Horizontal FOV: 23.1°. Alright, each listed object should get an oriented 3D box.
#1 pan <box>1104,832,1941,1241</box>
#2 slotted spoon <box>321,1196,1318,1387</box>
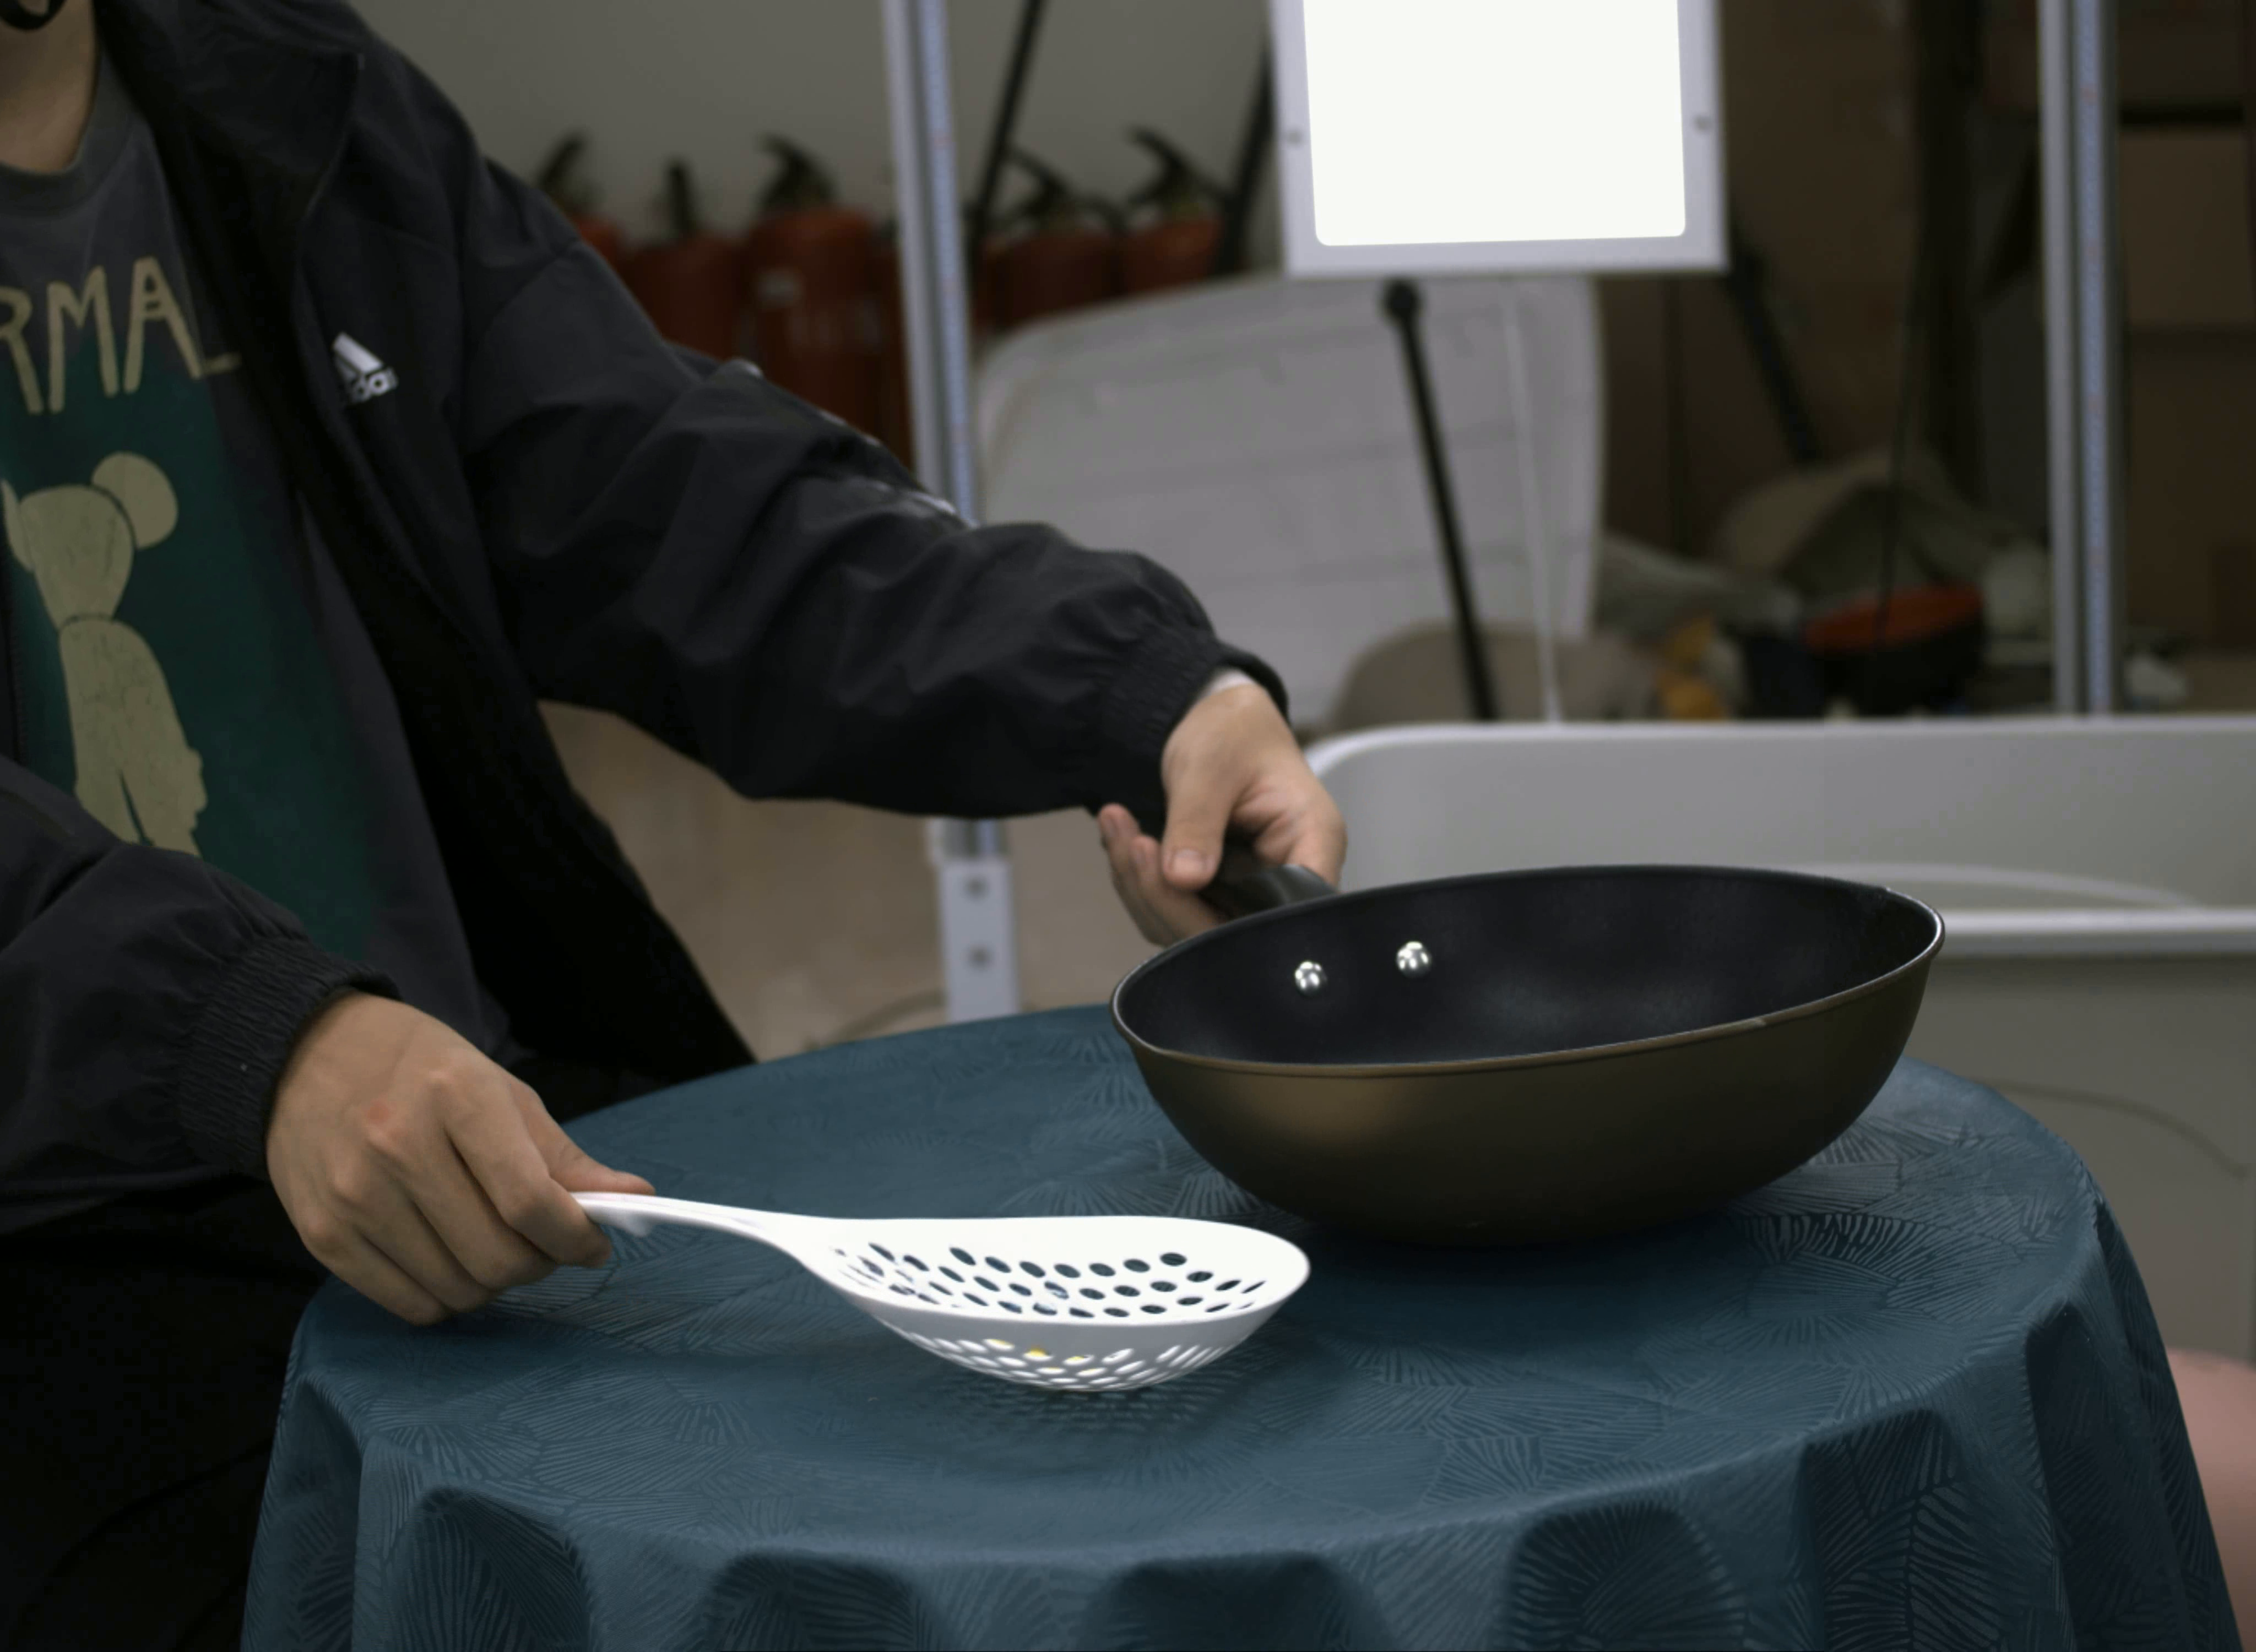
[{"bbox_3d":[0.099,0.069,1.929,0.283,0.087,0.470,-11,11,-21],"label":"pan"},{"bbox_3d":[-0.106,0.140,1.759,0.354,0.050,0.134,7,13,28],"label":"slotted spoon"}]
